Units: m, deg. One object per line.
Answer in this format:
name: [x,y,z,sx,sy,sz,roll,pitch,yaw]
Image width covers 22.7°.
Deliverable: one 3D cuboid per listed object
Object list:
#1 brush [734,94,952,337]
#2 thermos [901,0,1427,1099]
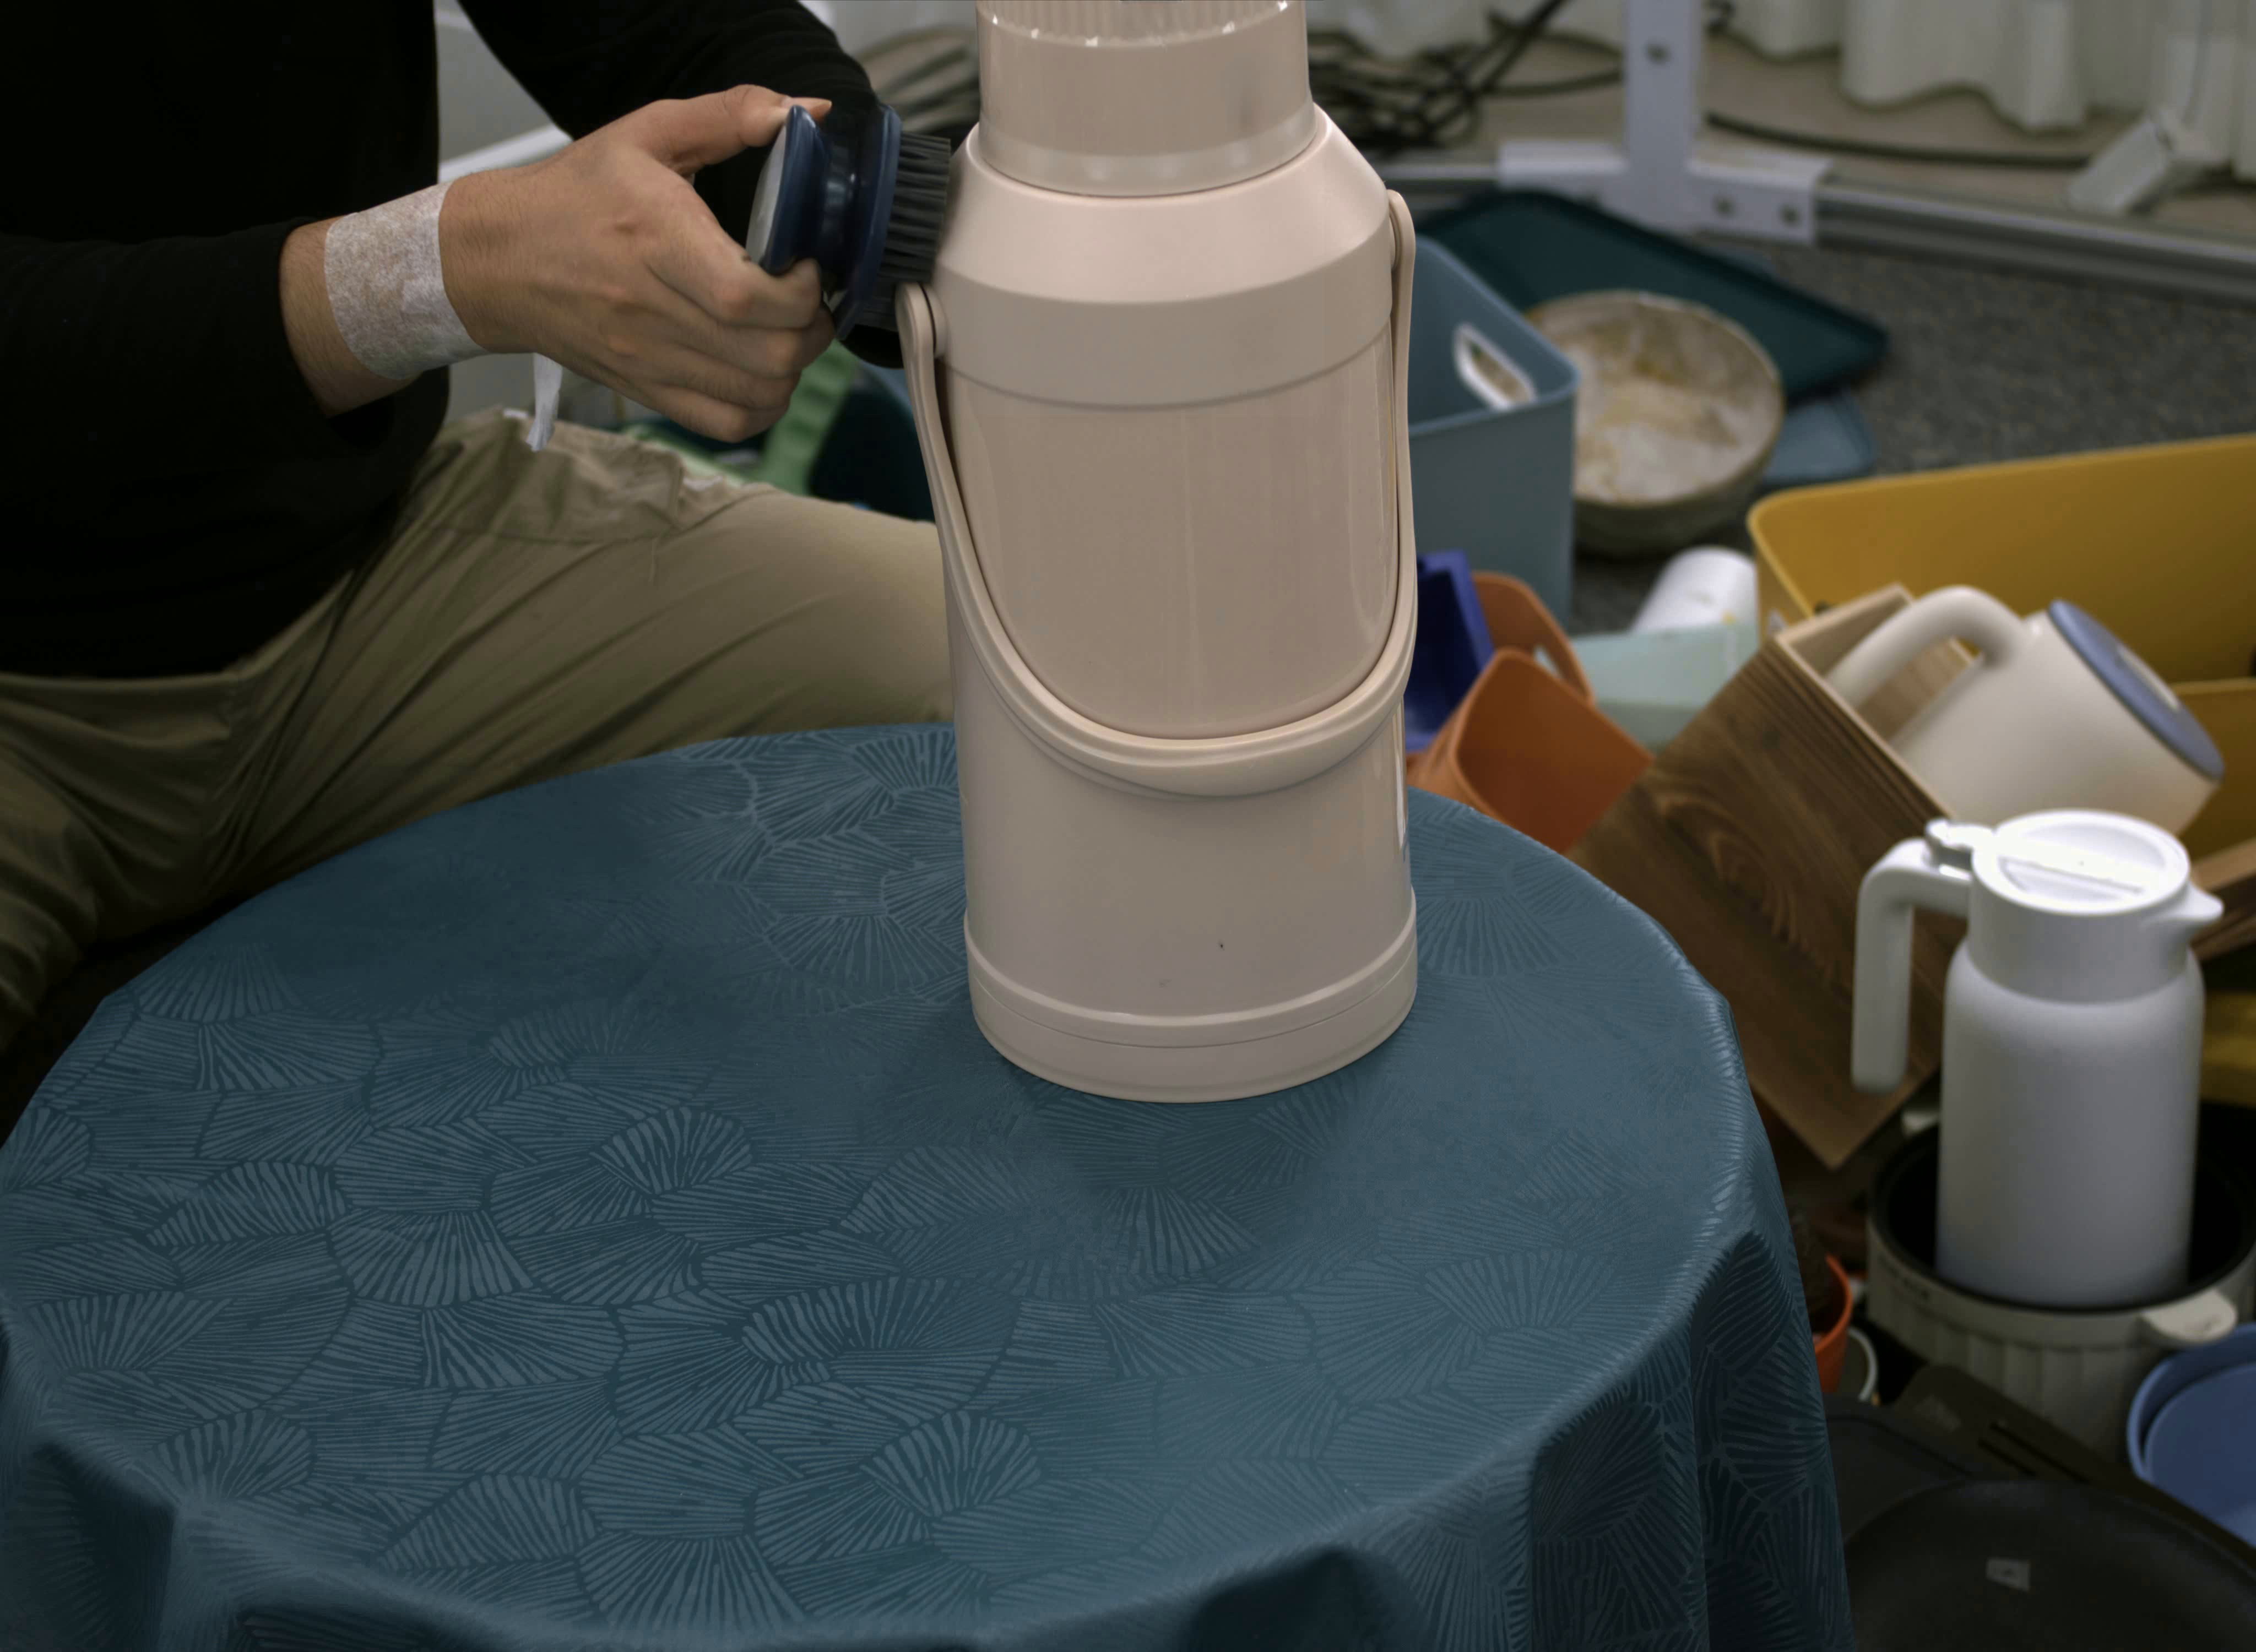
brush: [-0.093,-0.201,1.869,0.061,0.068,0.121,11,-9,-9]
thermos: [0.012,-0.124,1.909,0.176,0.402,0.209,-13,28,-16]
